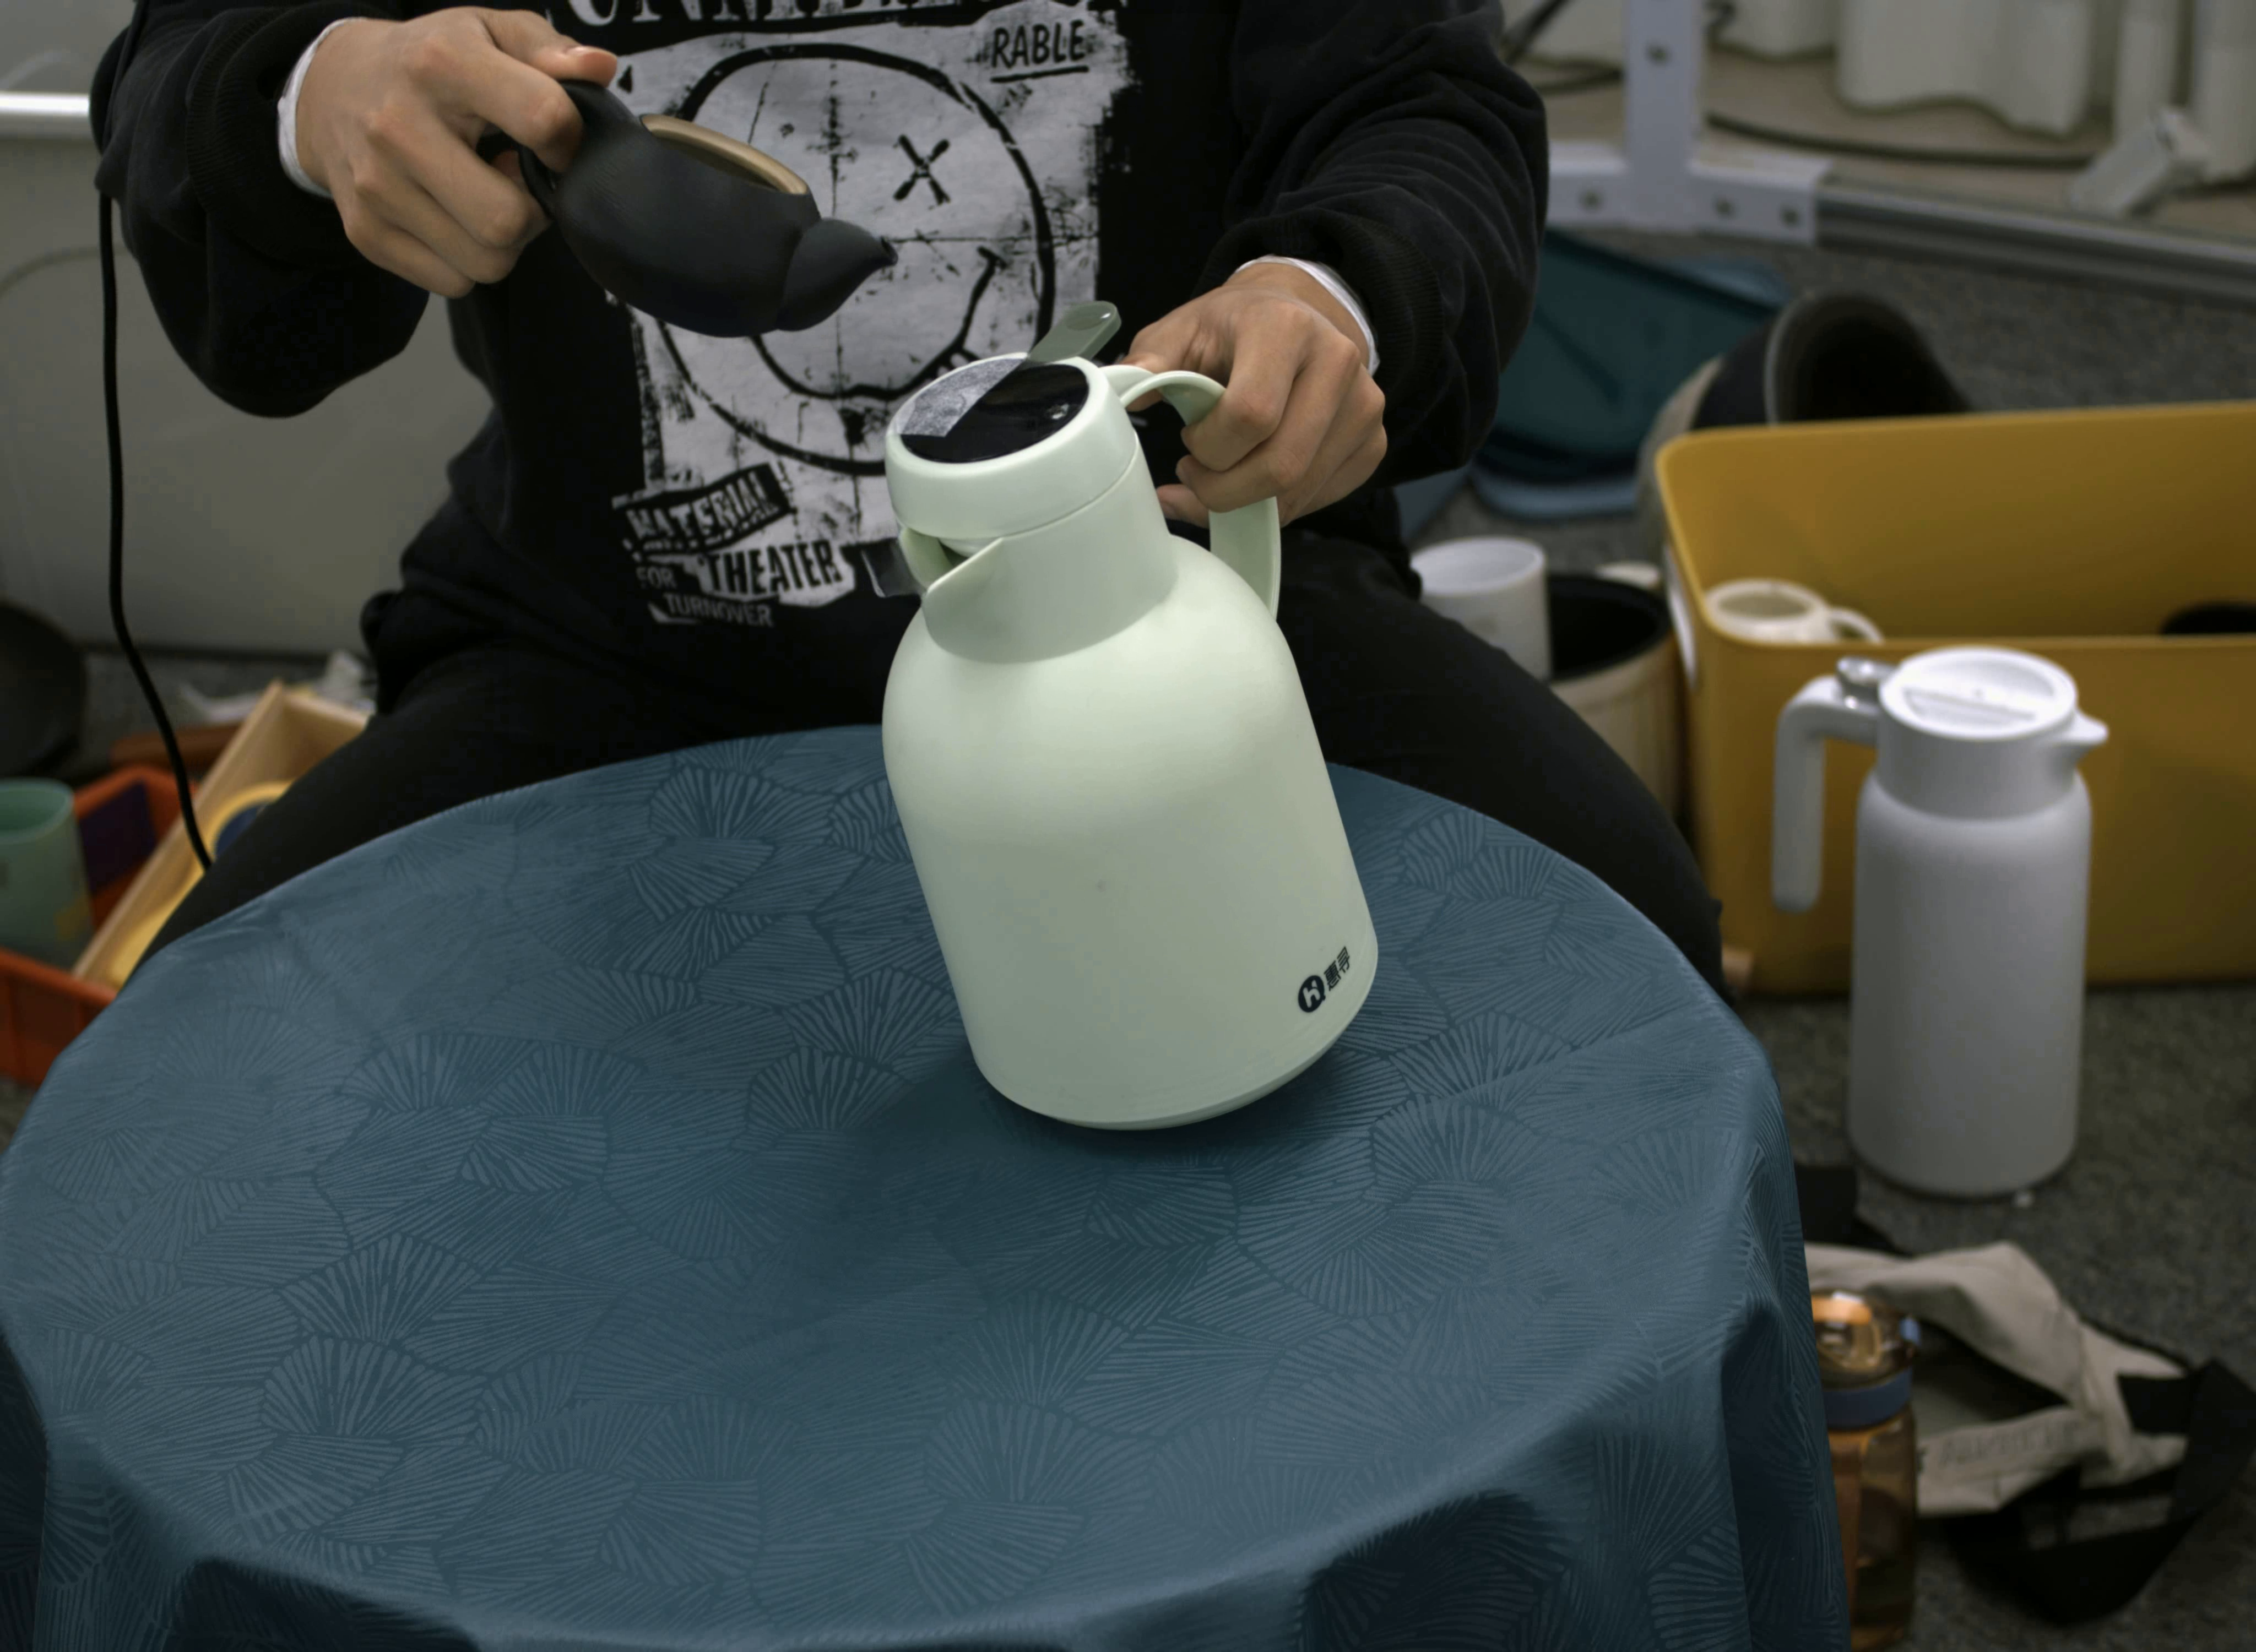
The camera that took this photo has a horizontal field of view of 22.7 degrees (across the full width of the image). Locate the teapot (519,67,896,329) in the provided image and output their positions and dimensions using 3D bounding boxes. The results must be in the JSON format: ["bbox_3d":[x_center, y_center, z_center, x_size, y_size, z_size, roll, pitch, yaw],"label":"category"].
[{"bbox_3d":[-0.140,-0.194,1.804,0.133,0.053,0.091,30,15,11],"label":"teapot"}]

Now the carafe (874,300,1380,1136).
[{"bbox_3d":[-0.004,-0.041,1.879,0.143,0.254,0.190,6,34,35],"label":"carafe"}]
